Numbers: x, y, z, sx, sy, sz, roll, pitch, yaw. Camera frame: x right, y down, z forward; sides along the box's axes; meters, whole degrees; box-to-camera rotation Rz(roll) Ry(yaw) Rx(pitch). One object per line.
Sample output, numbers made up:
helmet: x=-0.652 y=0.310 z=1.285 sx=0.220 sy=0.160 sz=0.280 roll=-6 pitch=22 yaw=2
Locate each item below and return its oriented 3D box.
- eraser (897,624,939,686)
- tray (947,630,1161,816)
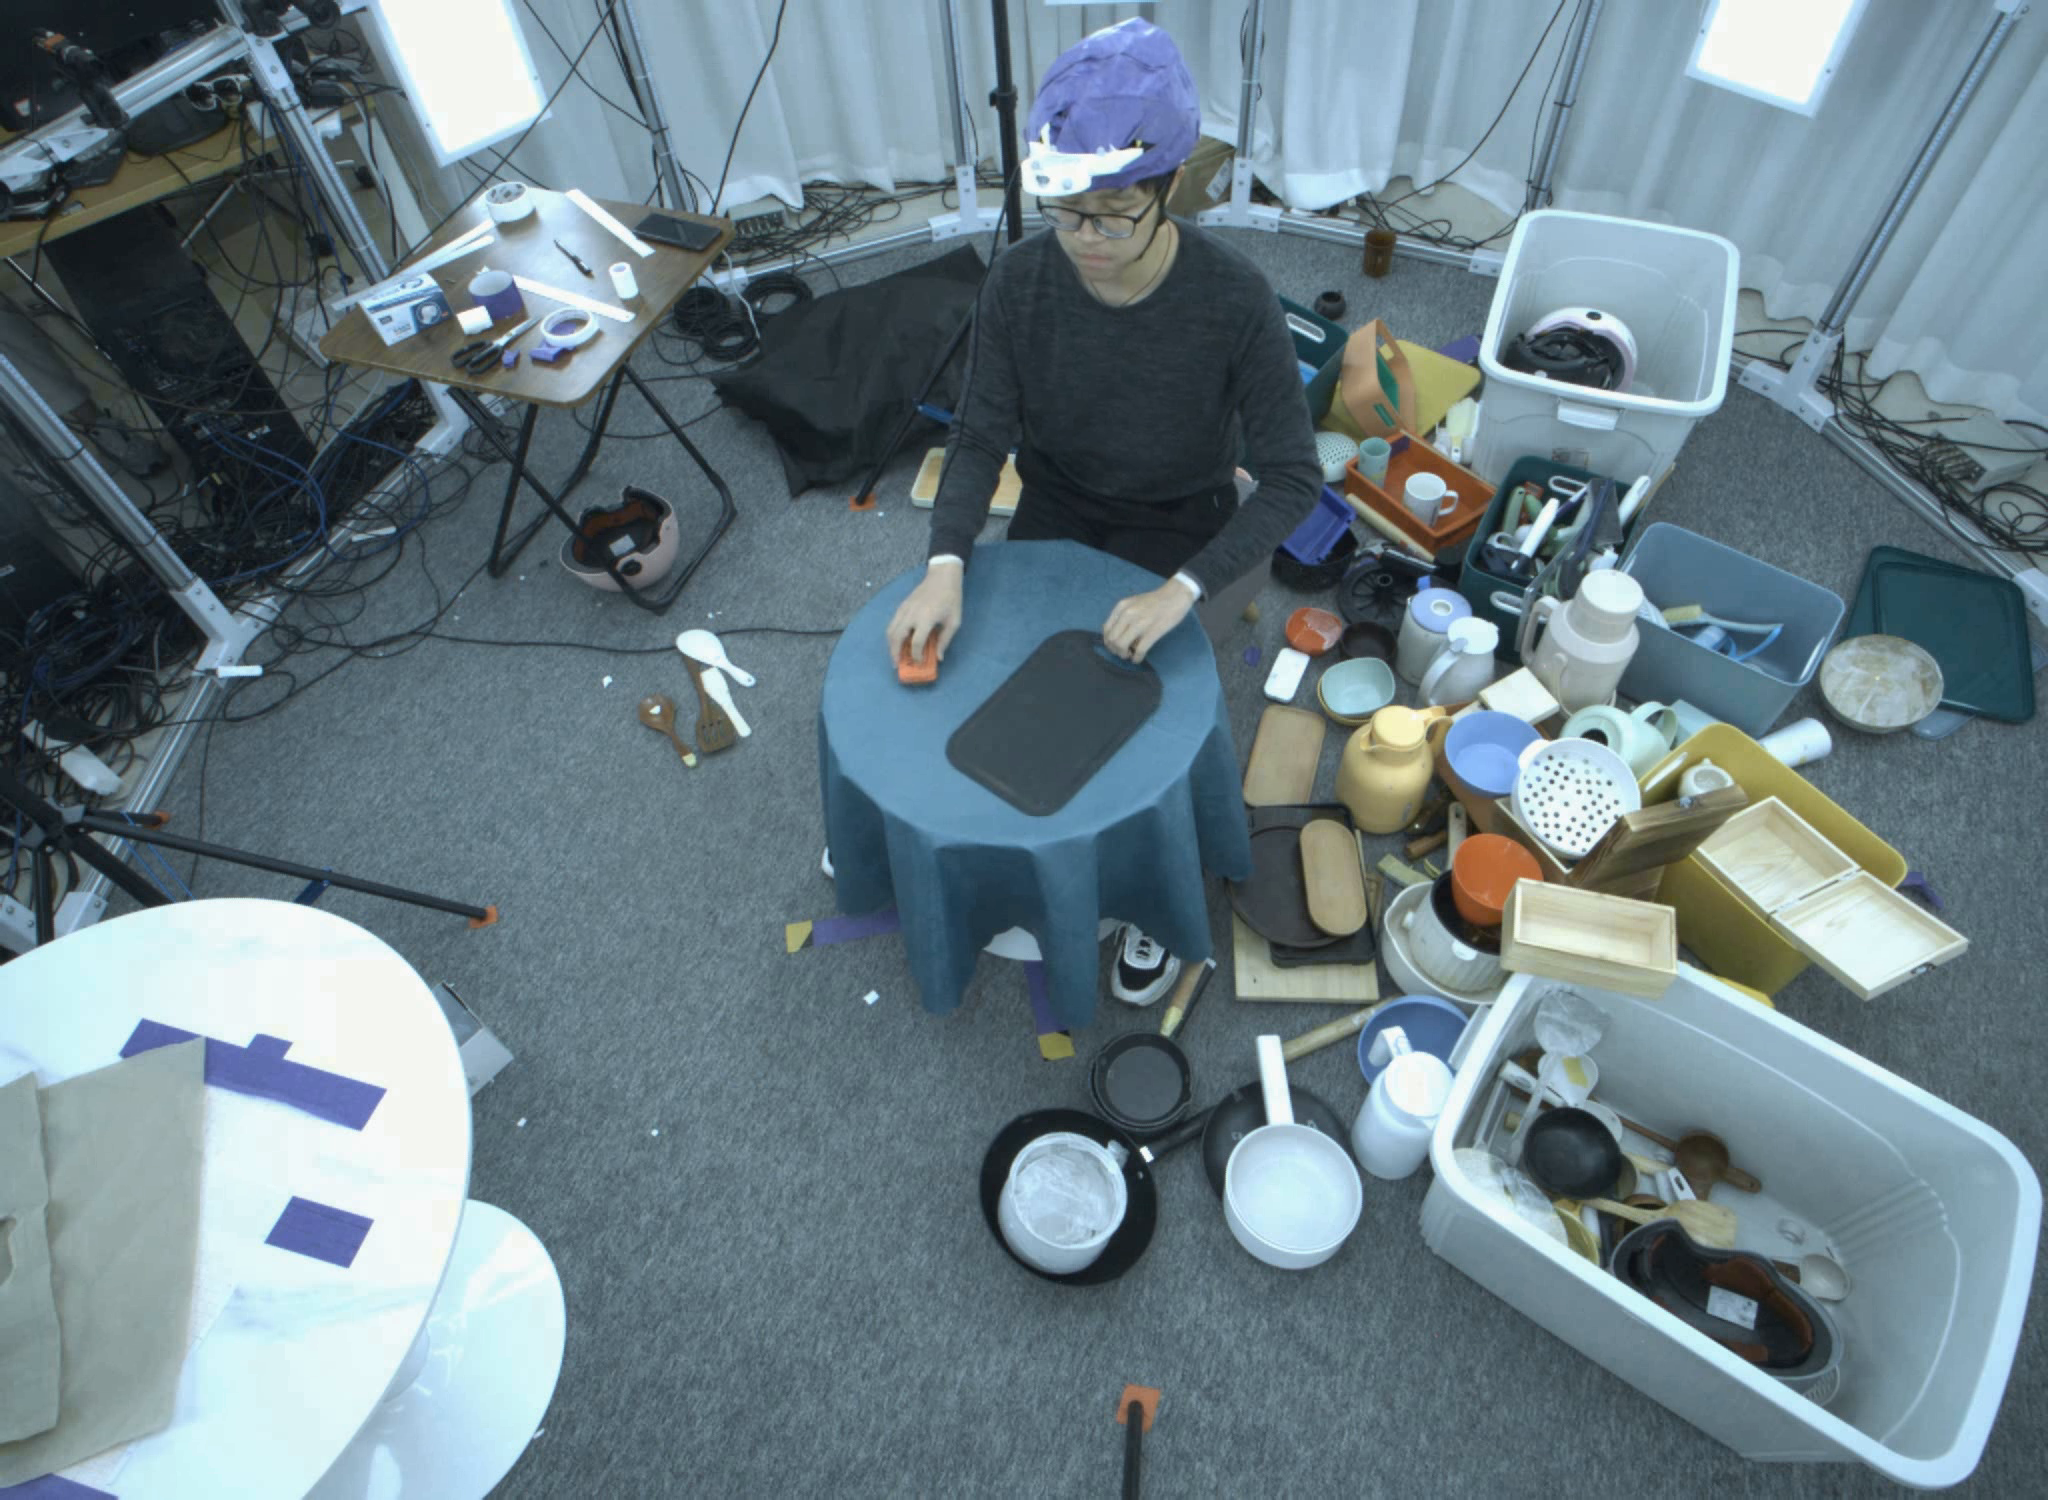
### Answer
eraser: x=-0.162 y=-0.147 z=1.880 sx=0.059 sy=0.023 sz=0.107 roll=-1 pitch=55 yaw=1
tray: x=0.050 y=-0.053 z=1.814 sx=0.207 sy=0.010 sz=0.327 roll=34 pitch=64 yaw=22
